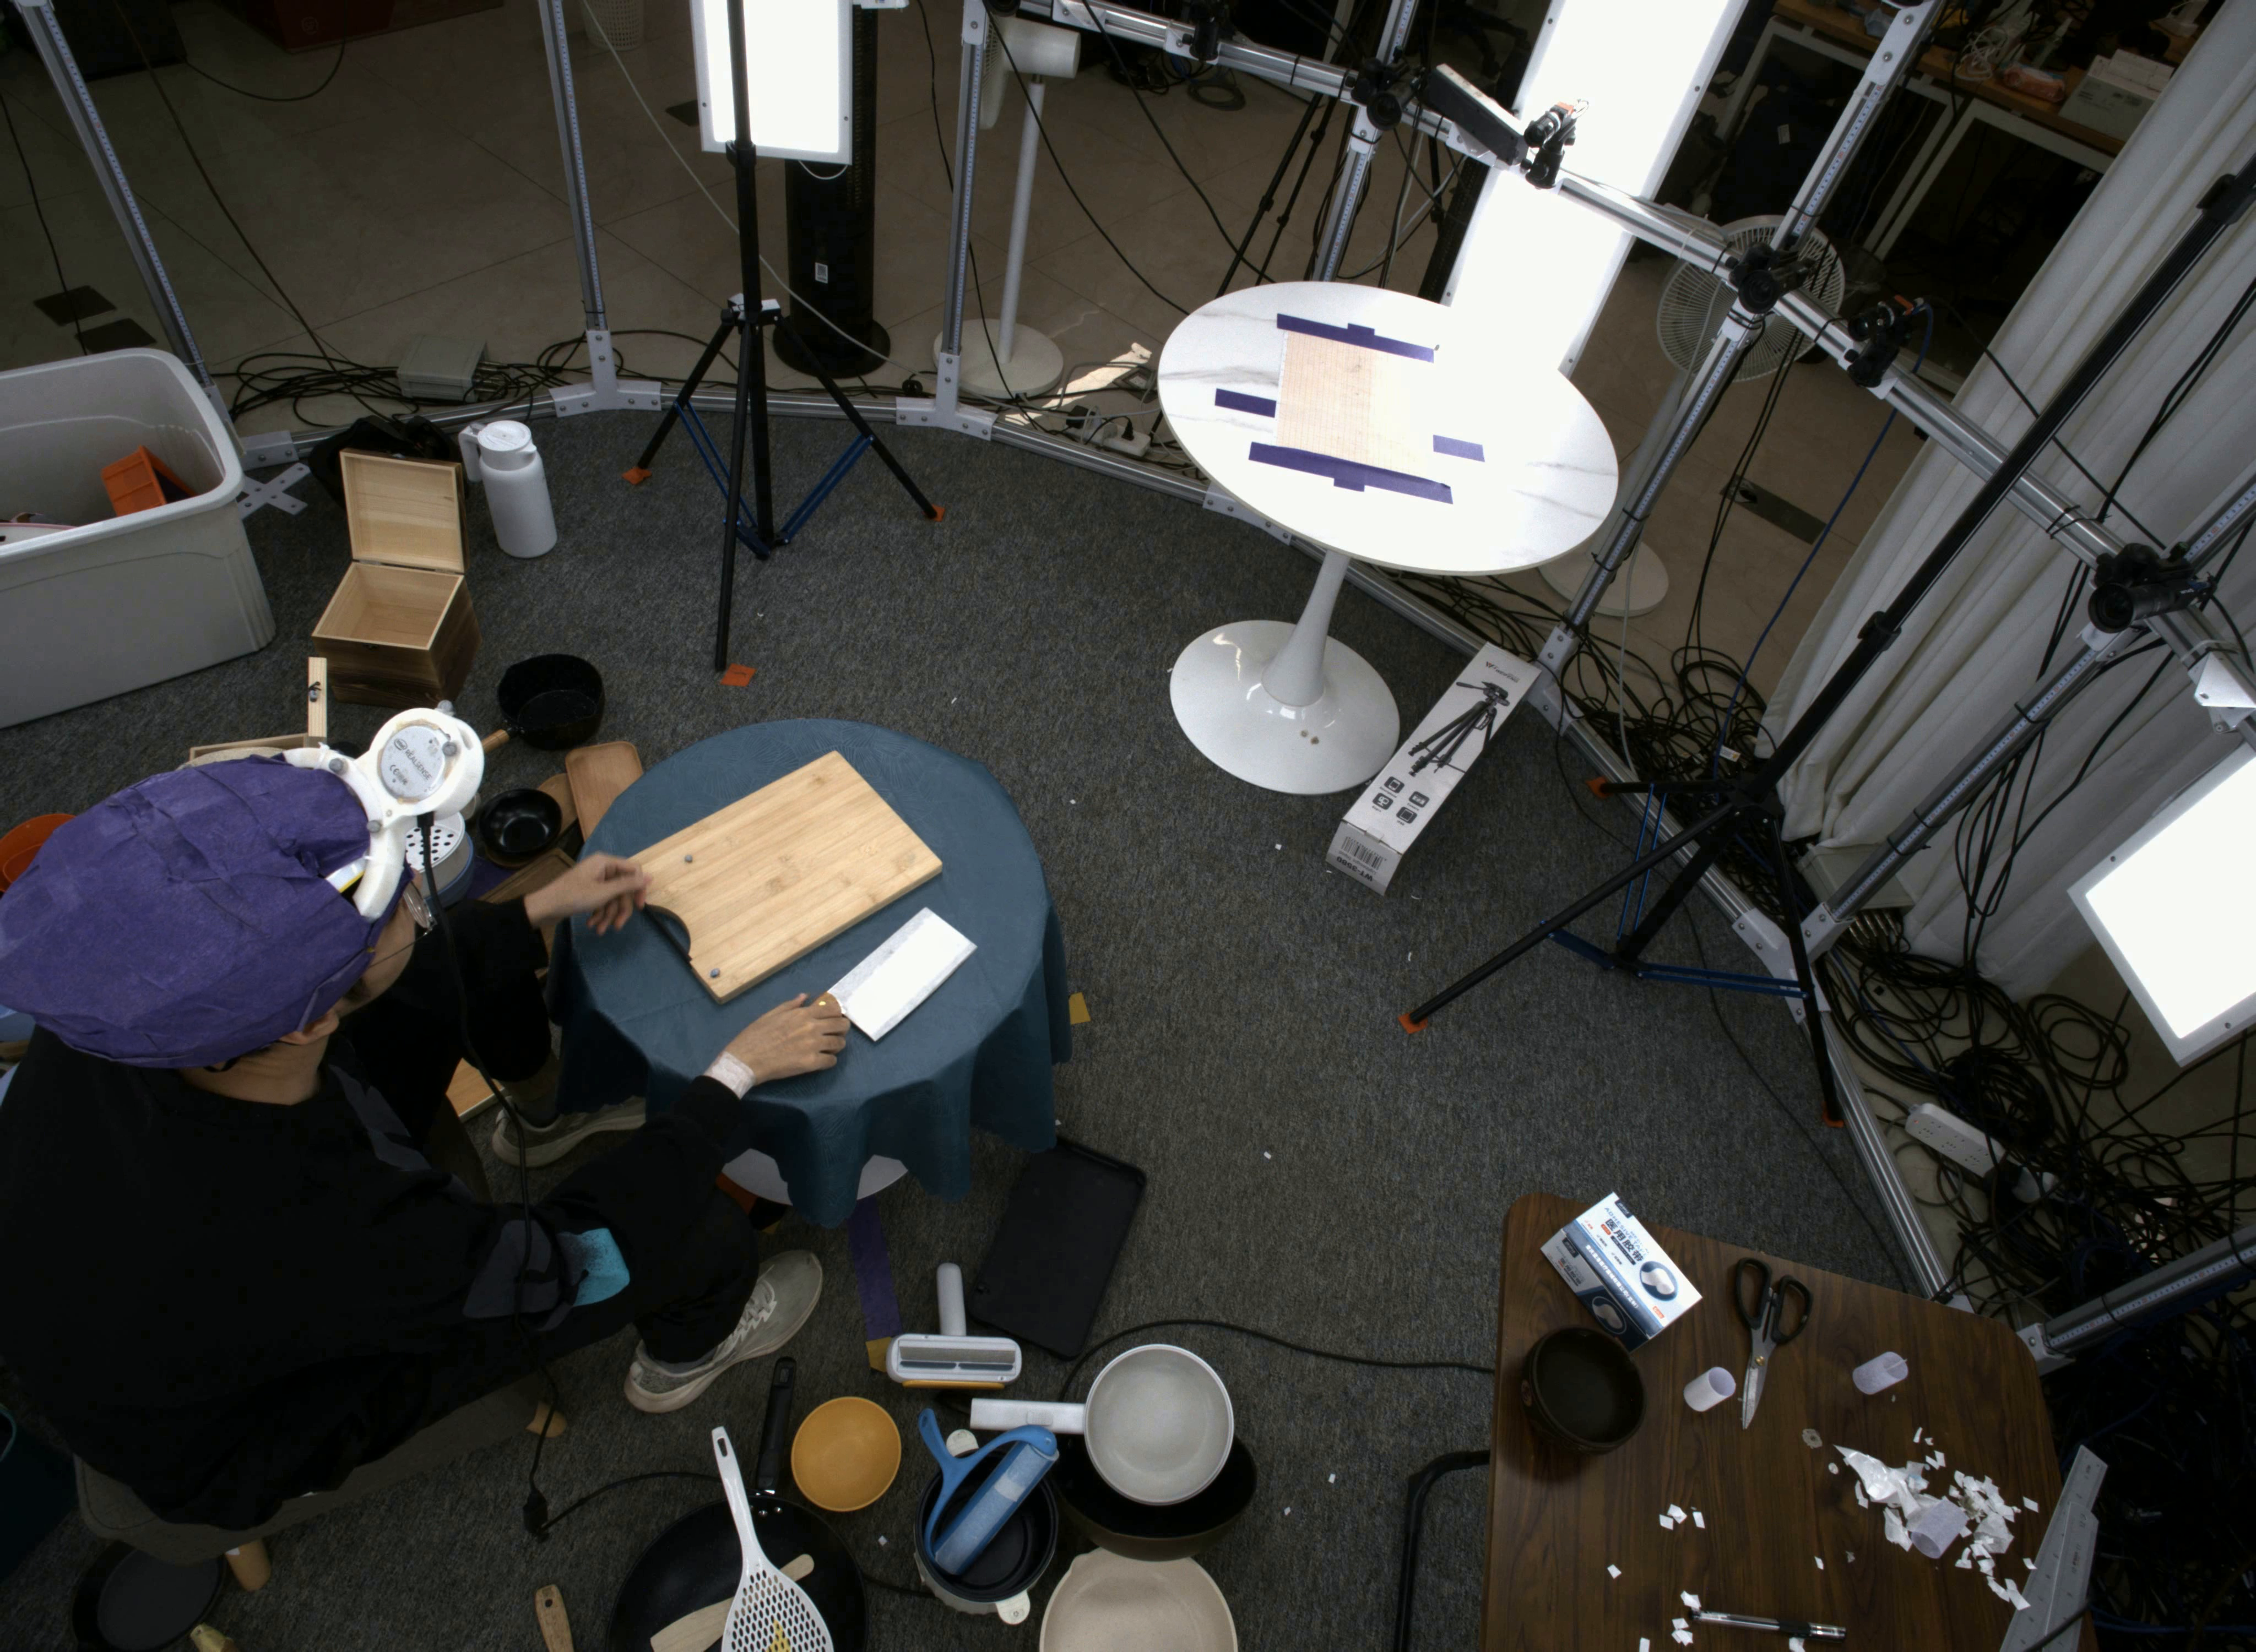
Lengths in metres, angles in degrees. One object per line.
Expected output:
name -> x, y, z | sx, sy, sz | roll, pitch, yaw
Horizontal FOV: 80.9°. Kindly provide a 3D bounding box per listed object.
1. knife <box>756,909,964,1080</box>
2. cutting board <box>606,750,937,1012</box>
knife -> -0.314, 0.210, 1.576 | 0.091, 0.021, 0.305 | 37, 51, 12
cutting board -> -0.450, 0.057, 1.653 | 0.245, 0.024, 0.349 | 43, 55, 18
